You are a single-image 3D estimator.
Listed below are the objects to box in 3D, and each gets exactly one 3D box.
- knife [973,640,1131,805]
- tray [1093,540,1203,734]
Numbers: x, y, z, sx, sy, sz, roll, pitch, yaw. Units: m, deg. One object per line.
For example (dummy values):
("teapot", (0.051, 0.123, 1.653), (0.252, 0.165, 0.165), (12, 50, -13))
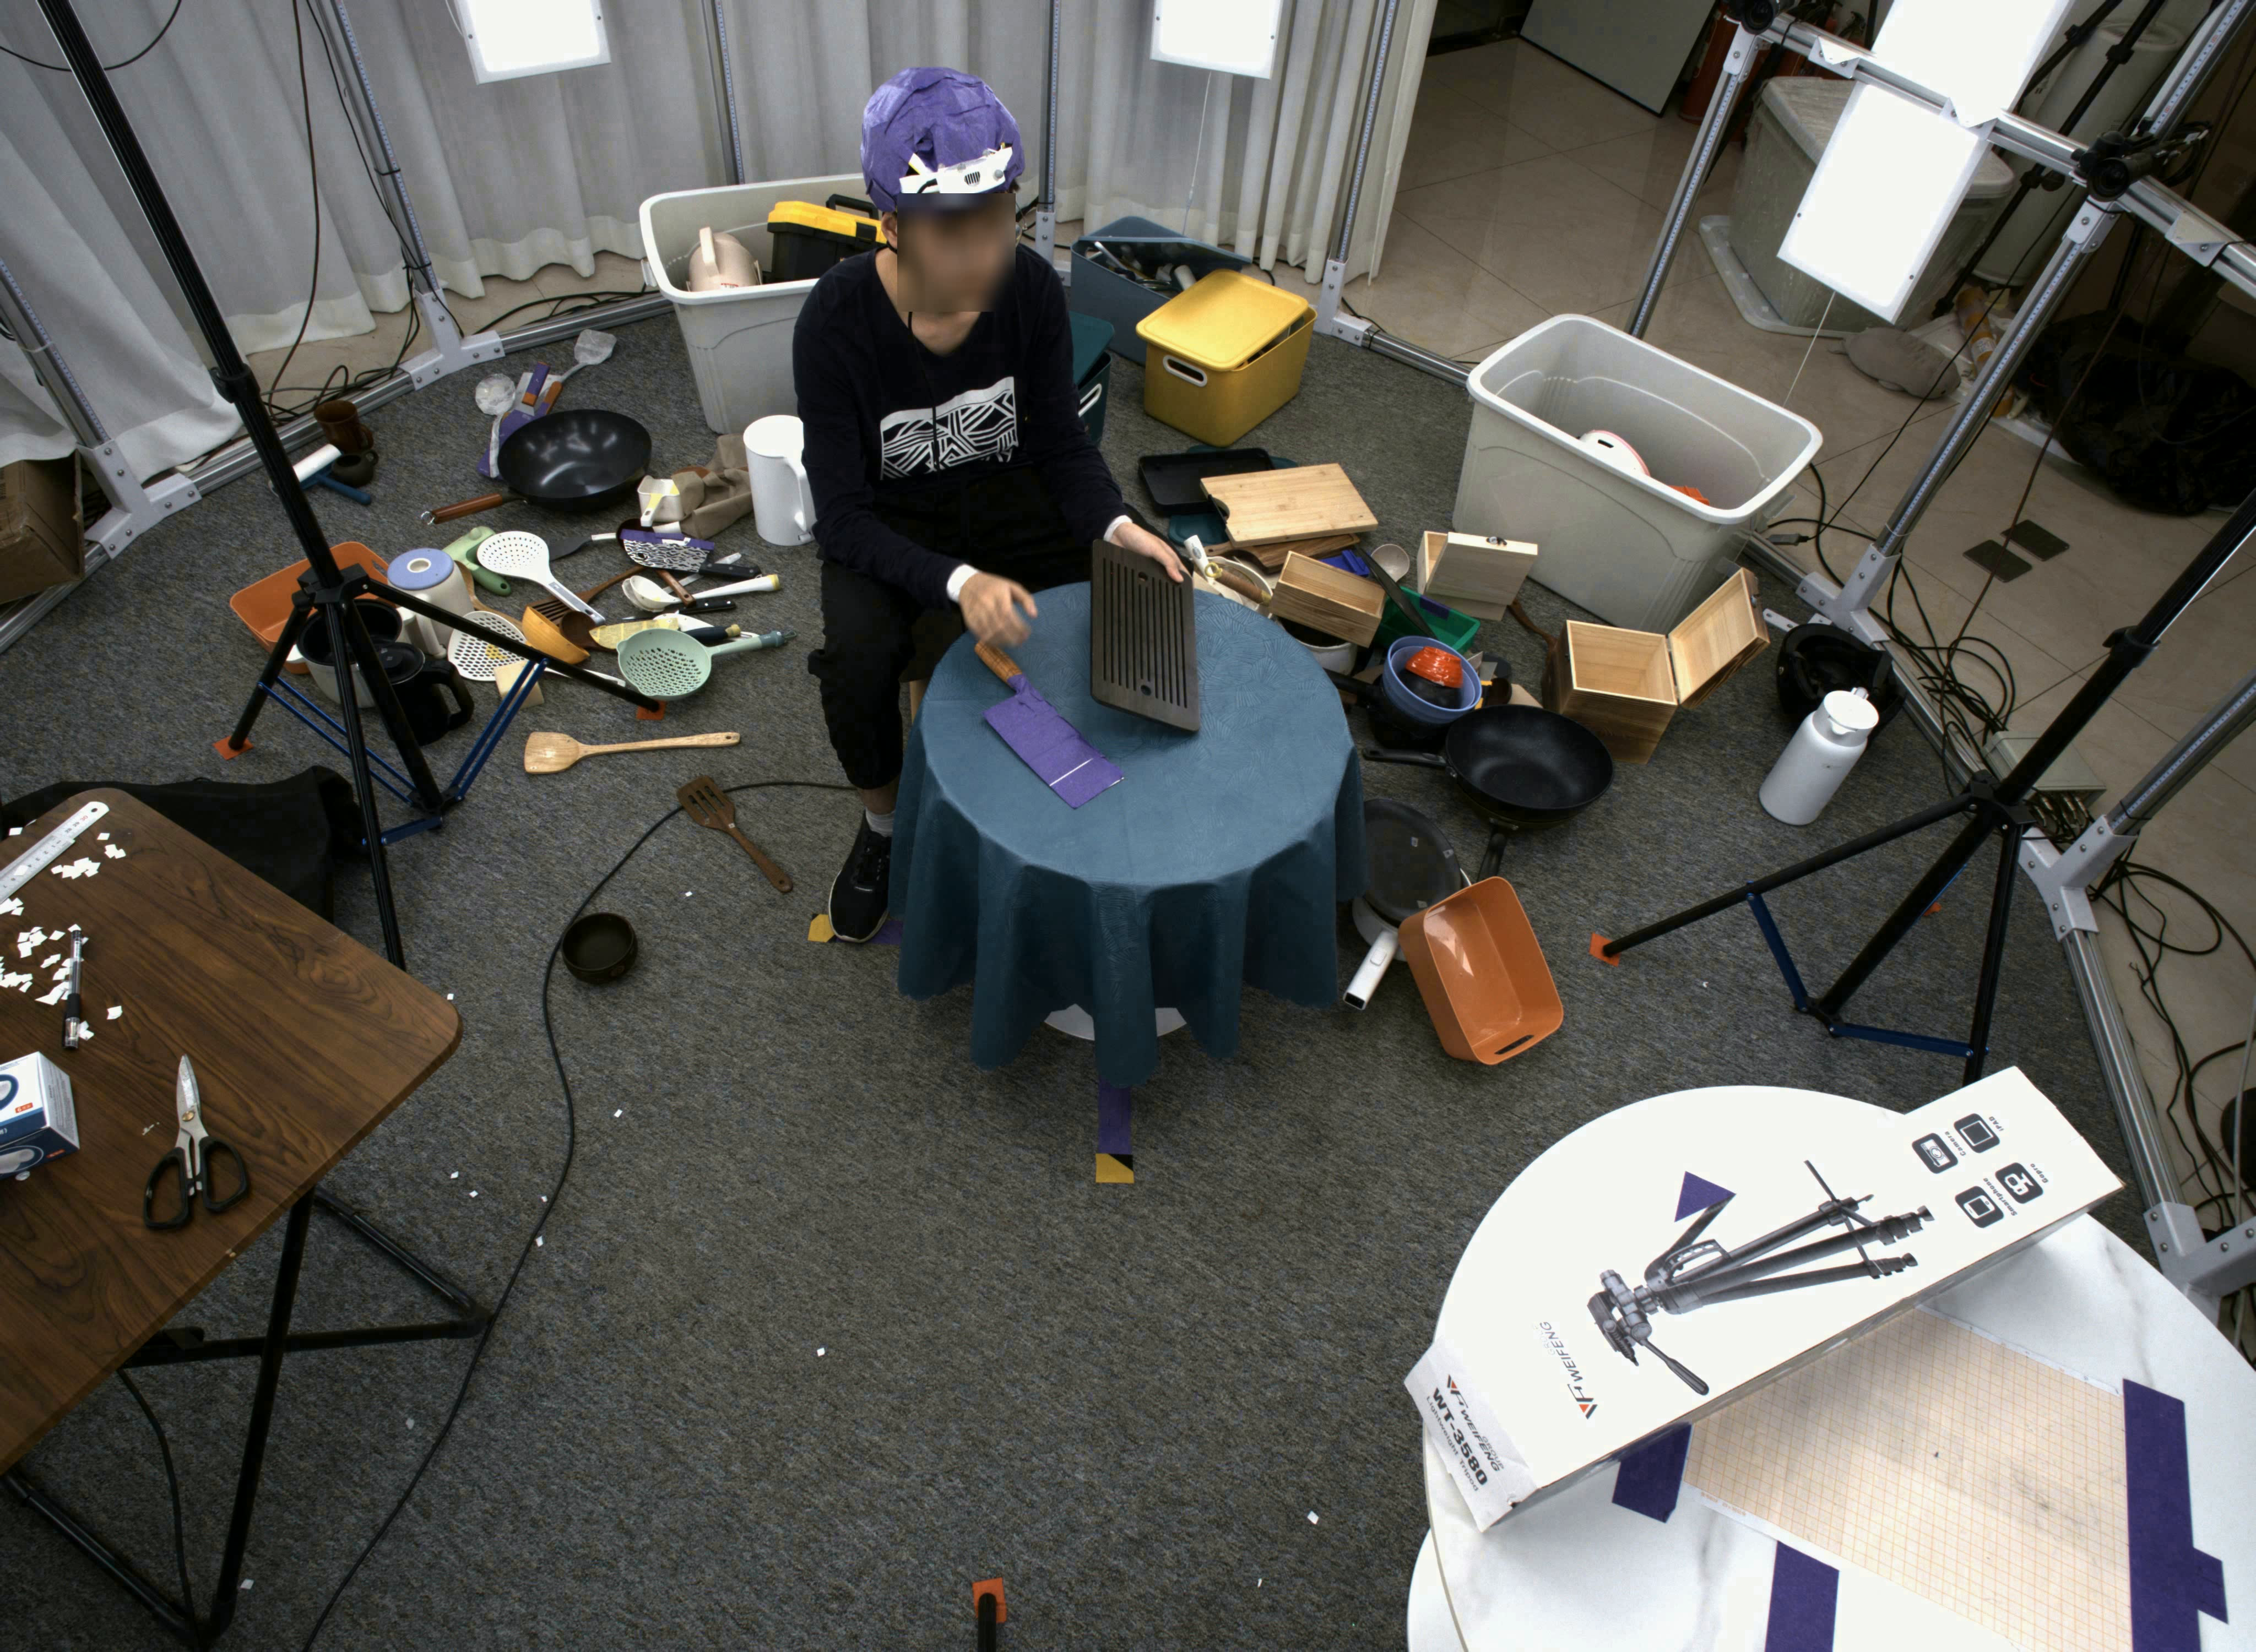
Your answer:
("knife", (-0.134, -0.146, 1.768), (0.104, 0.031, 0.320), (-31, 58, -27))
("tray", (0.025, -0.272, 1.837), (0.168, 0.018, 0.313), (16, 51, -23))
